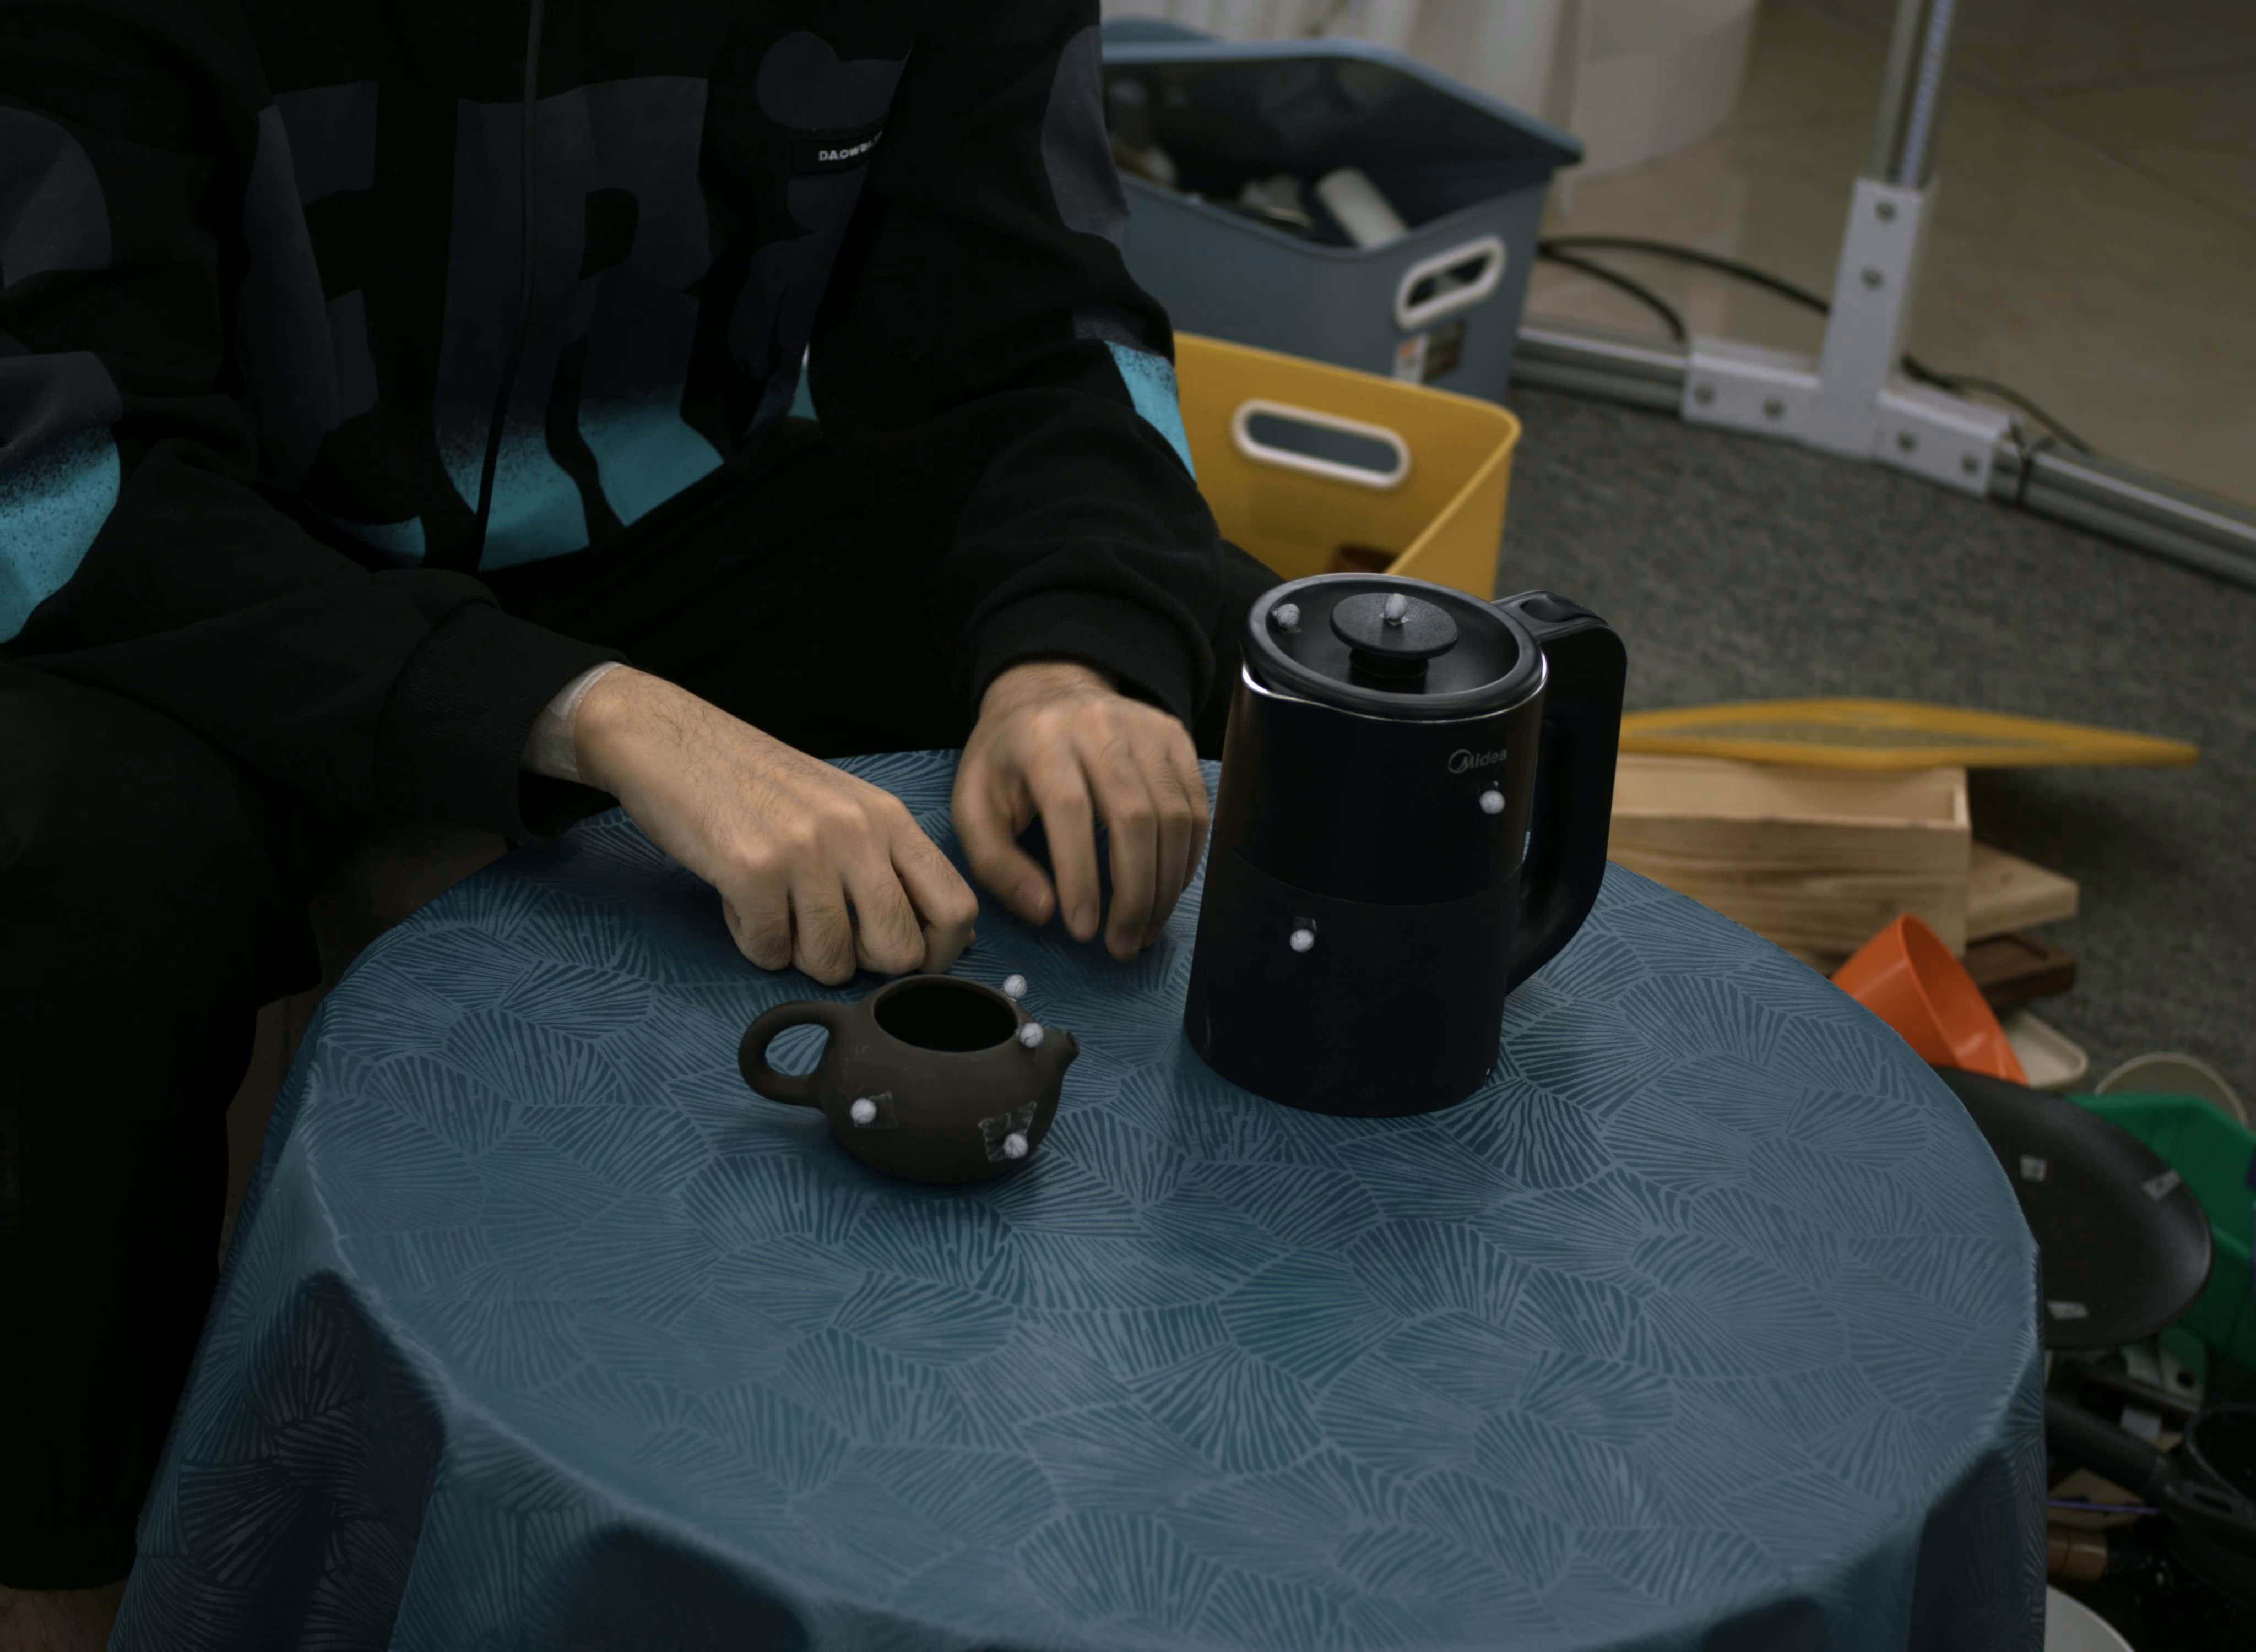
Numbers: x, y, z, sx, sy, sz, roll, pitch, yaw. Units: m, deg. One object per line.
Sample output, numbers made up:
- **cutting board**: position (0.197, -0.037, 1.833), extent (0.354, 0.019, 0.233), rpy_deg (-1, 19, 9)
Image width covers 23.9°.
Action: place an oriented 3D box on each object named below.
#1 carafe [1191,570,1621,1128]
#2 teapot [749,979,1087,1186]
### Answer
- **carafe**: position (0.101, -0.003, 1.883), extent (0.171, 0.173, 0.115), rpy_deg (-18, 34, -35)
- **teapot**: position (-0.073, 0.084, 1.806), extent (0.114, 0.053, 0.083), rpy_deg (12, 26, 3)
